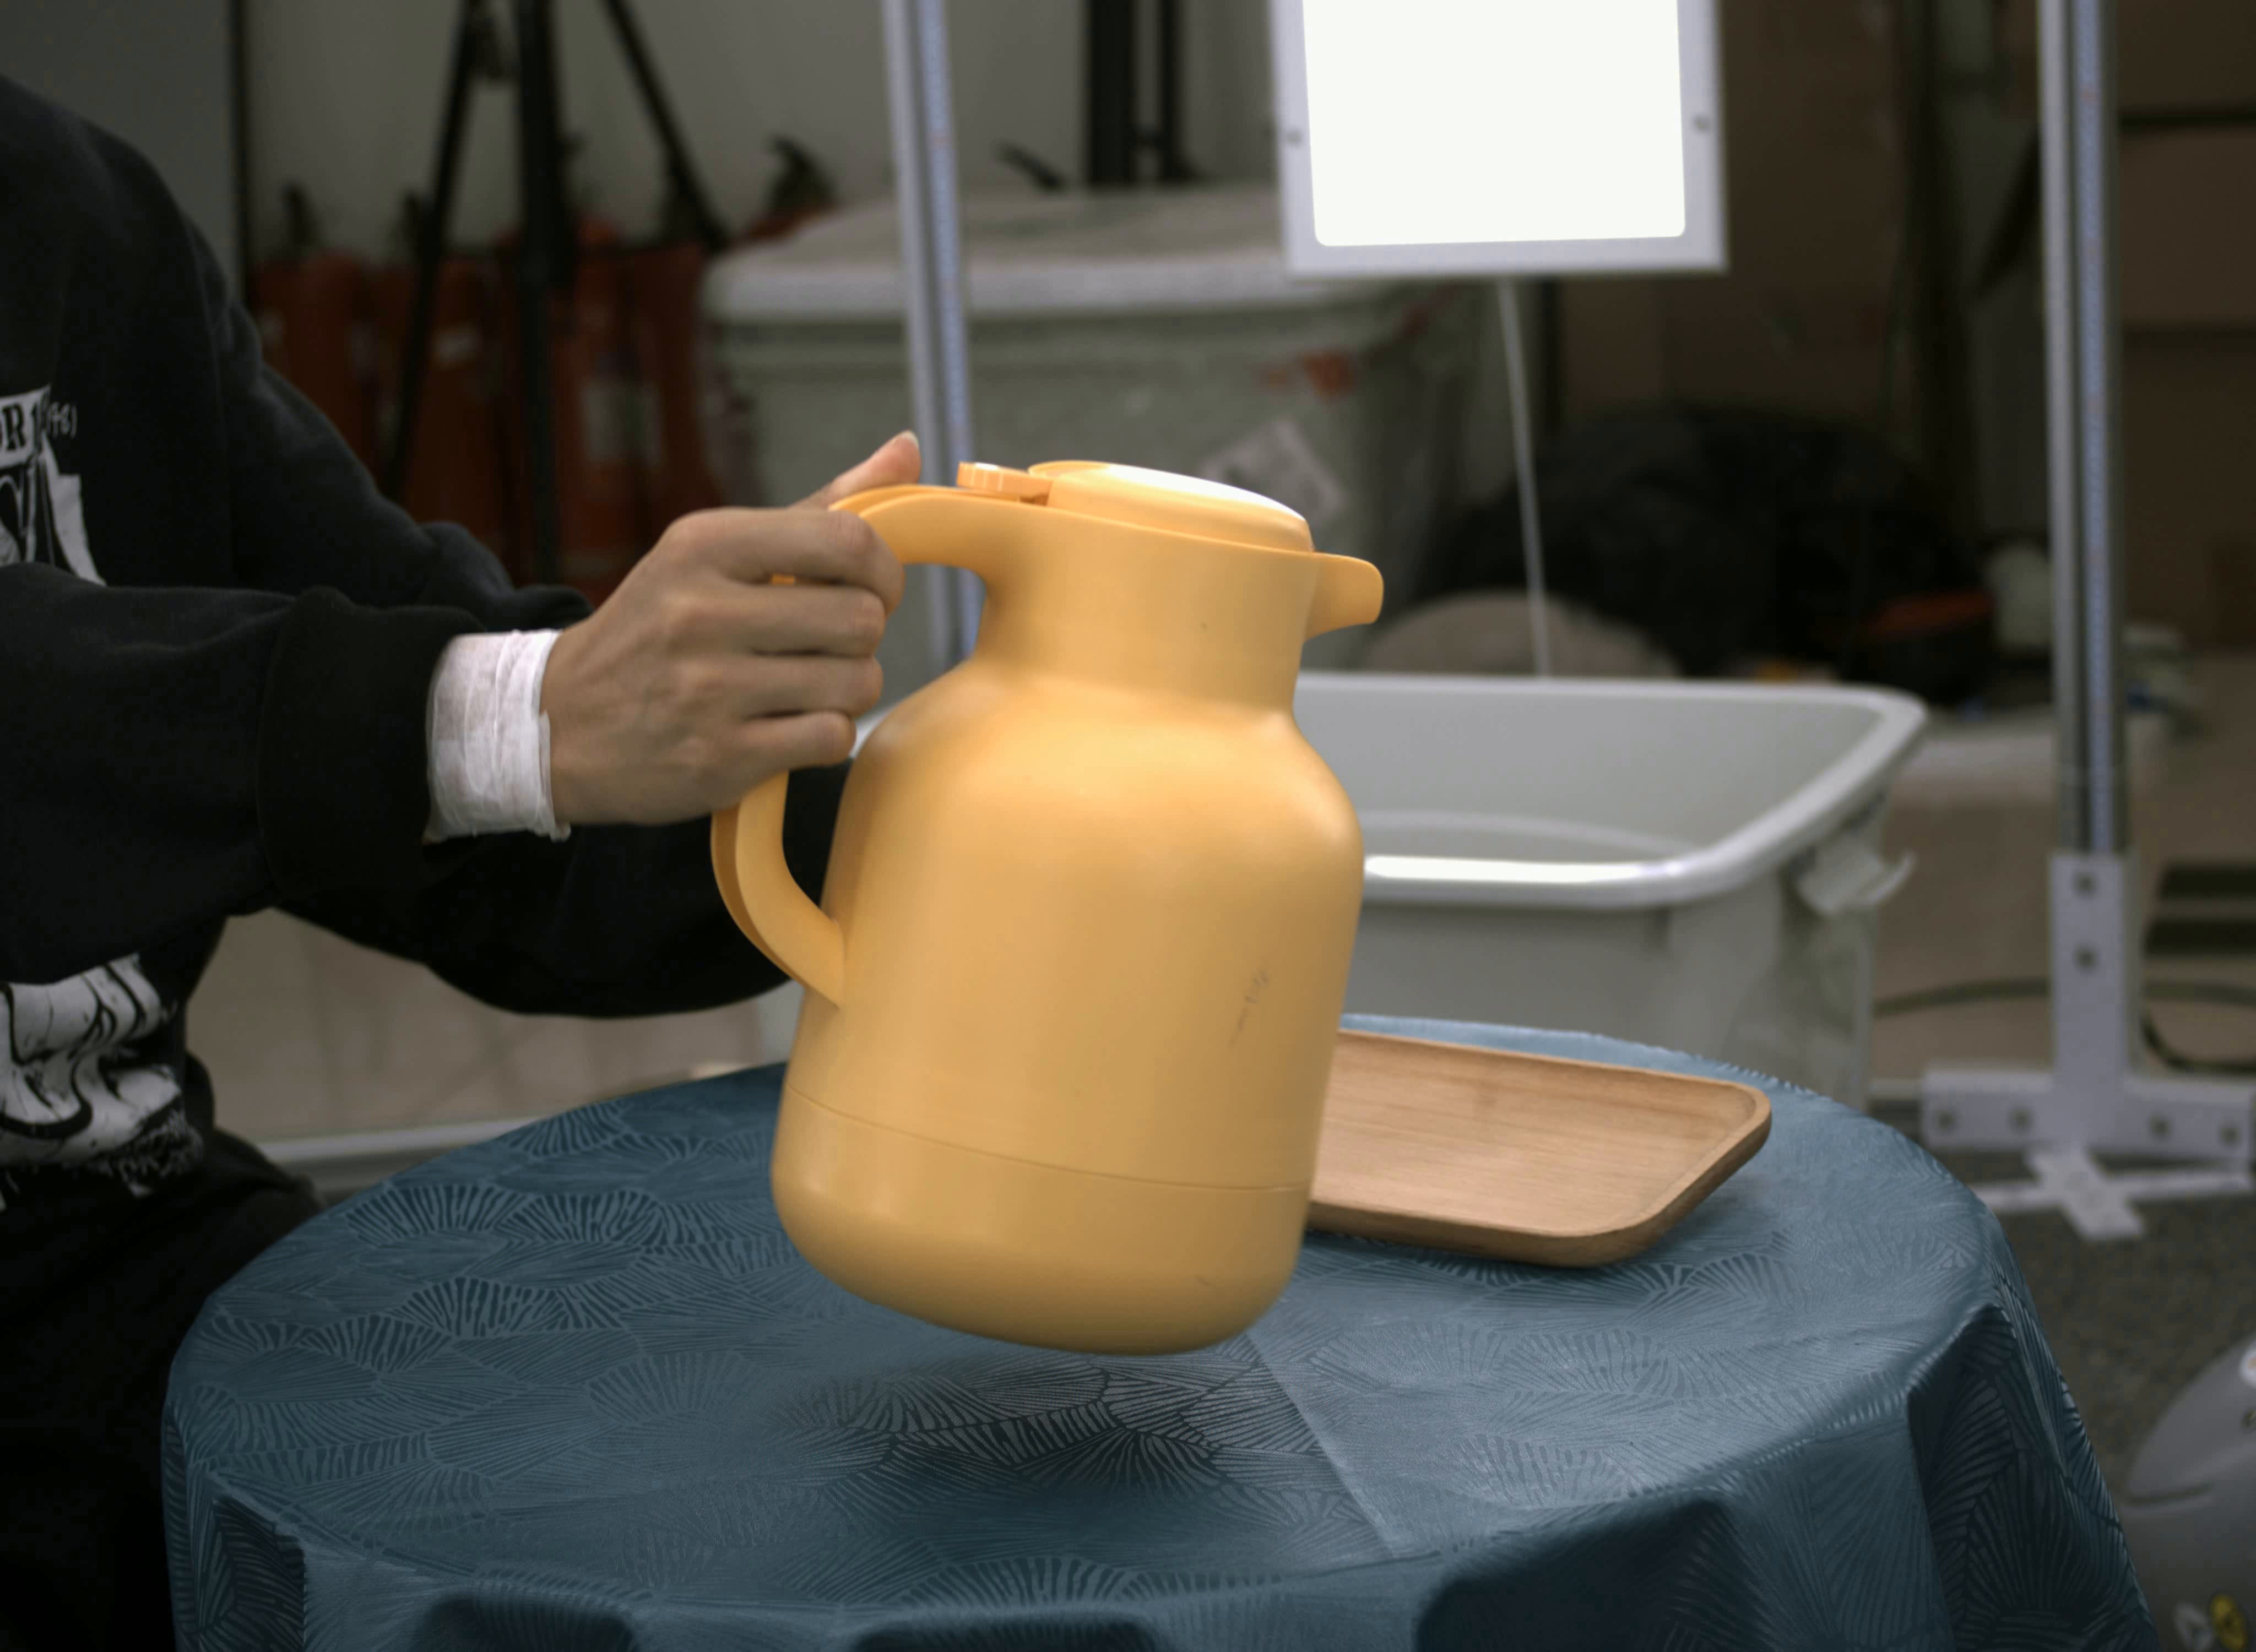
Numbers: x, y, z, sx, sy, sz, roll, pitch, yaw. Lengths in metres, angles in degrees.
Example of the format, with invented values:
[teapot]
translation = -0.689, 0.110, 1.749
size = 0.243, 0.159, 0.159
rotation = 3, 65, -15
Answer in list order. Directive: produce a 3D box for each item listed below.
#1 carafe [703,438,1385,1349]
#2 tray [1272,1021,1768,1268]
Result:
[carafe]
translation = -0.033, 0.014, 1.652
size = 0.199, 0.261, 0.165
rotation = 11, 4, -19
[tray]
translation = 0.090, 0.106, 1.877
size = 0.256, 0.023, 0.127
rotation = 6, 23, 37
